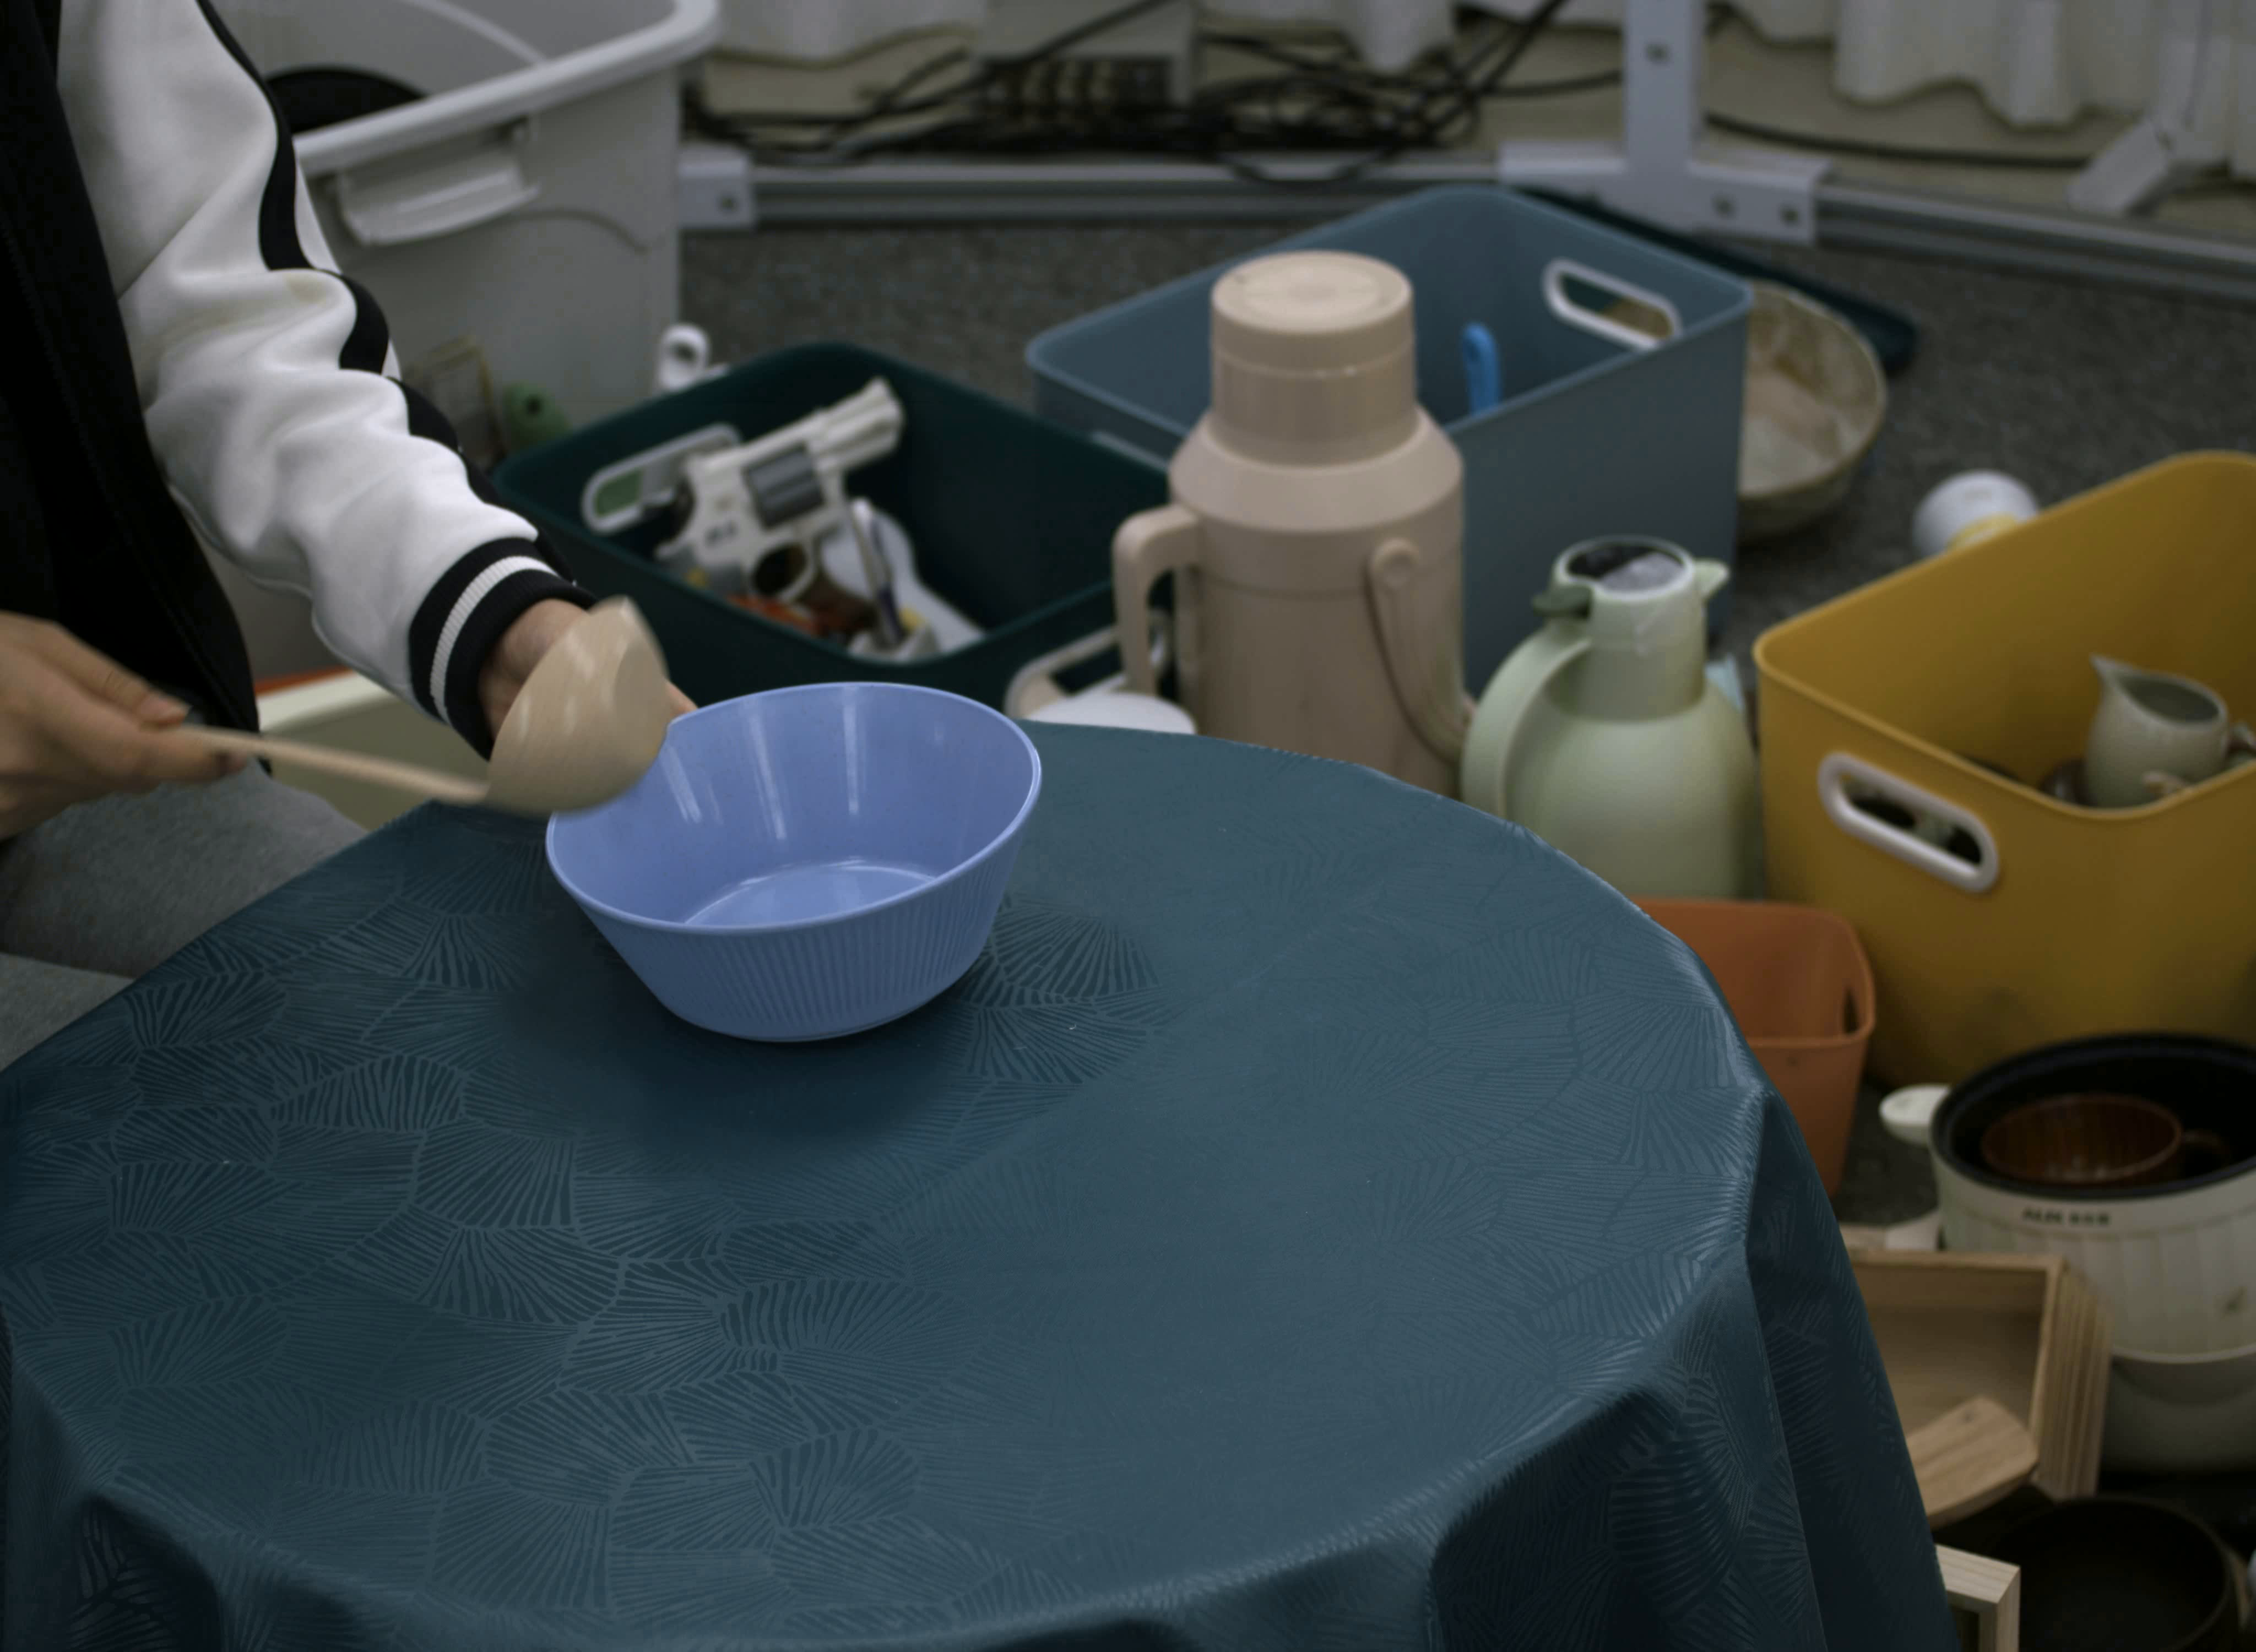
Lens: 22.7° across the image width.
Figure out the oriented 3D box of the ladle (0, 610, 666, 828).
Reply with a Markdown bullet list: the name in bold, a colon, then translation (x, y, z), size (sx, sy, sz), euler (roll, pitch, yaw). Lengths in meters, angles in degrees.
- **ladle**: translation (-0.272, -0.046, 1.844), size (0.252, 0.073, 0.072), euler (7, 6, 20)

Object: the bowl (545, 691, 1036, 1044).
- **bowl**: translation (-0.115, 0.021, 1.984), size (0.175, 0.069, 0.179), euler (-6, 27, 3)
